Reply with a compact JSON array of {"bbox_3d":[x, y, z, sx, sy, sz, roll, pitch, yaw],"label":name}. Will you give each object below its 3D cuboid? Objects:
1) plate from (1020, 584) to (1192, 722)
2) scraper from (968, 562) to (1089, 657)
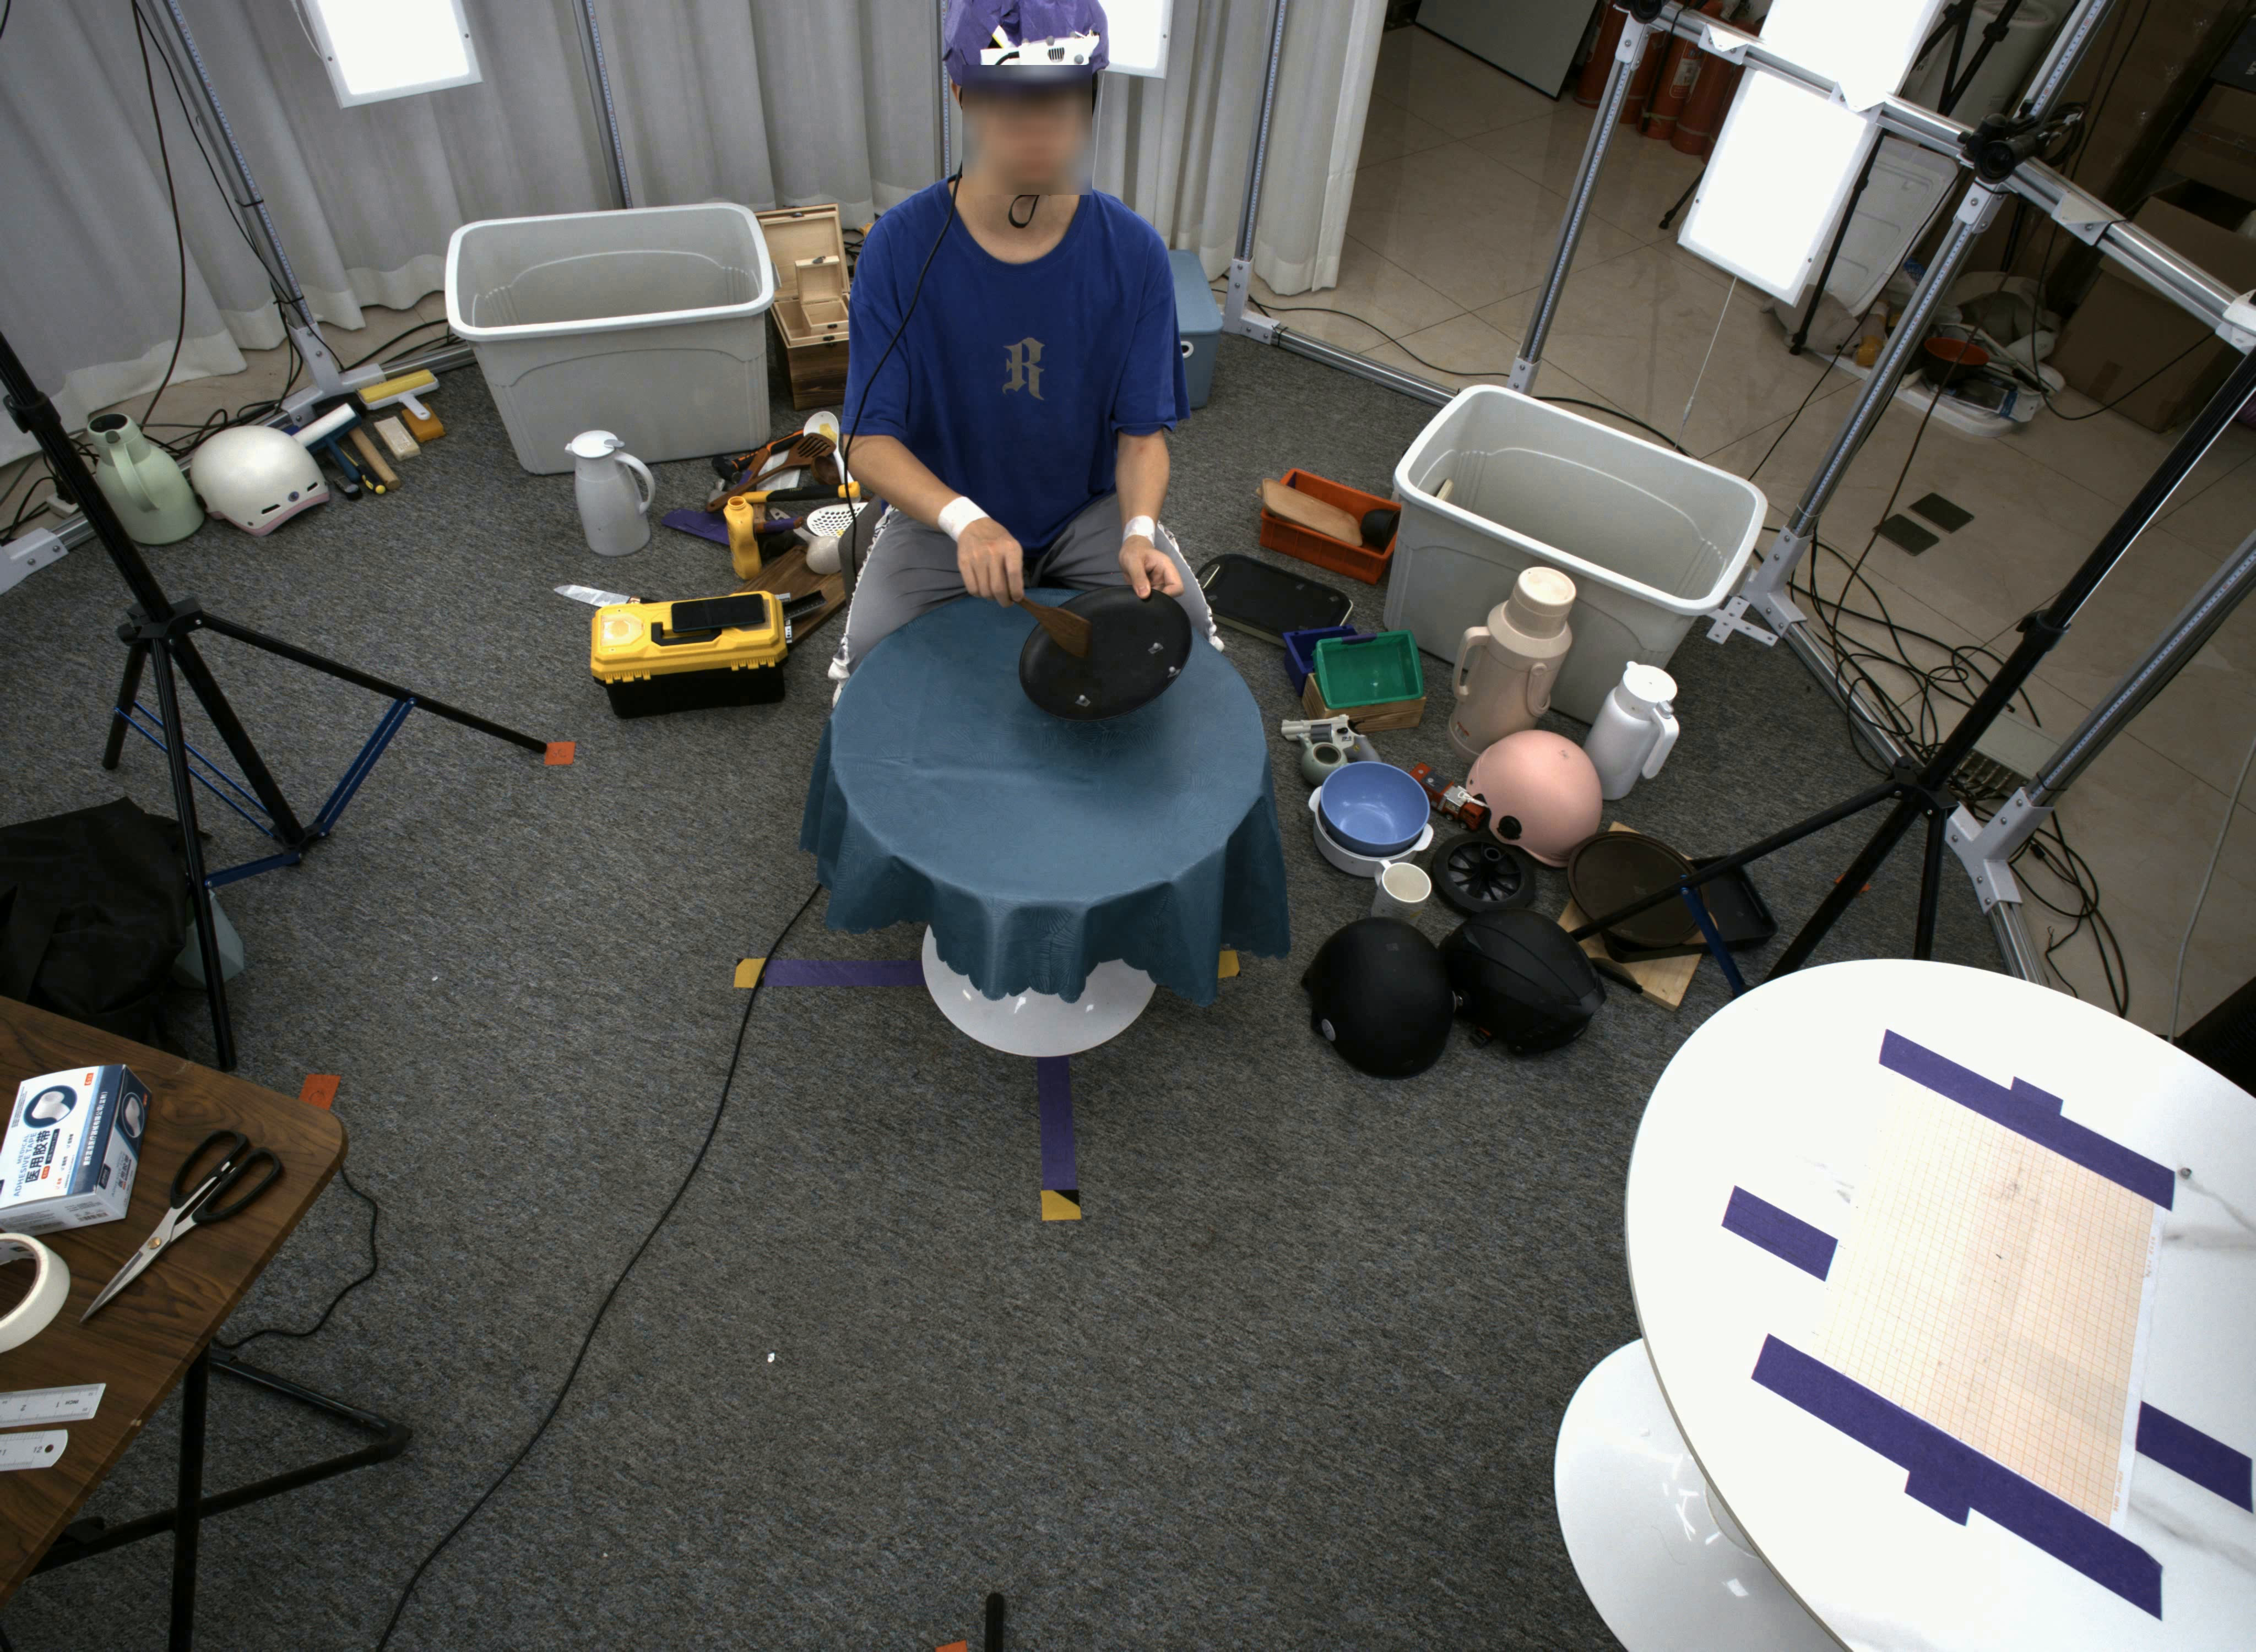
[{"bbox_3d":[-0.029,-0.234,1.745,0.244,0.023,0.250,-9,53,12],"label":"plate"},{"bbox_3d":[-0.136,-0.299,1.739,0.214,0.074,0.011,35,61,20],"label":"scraper"}]
